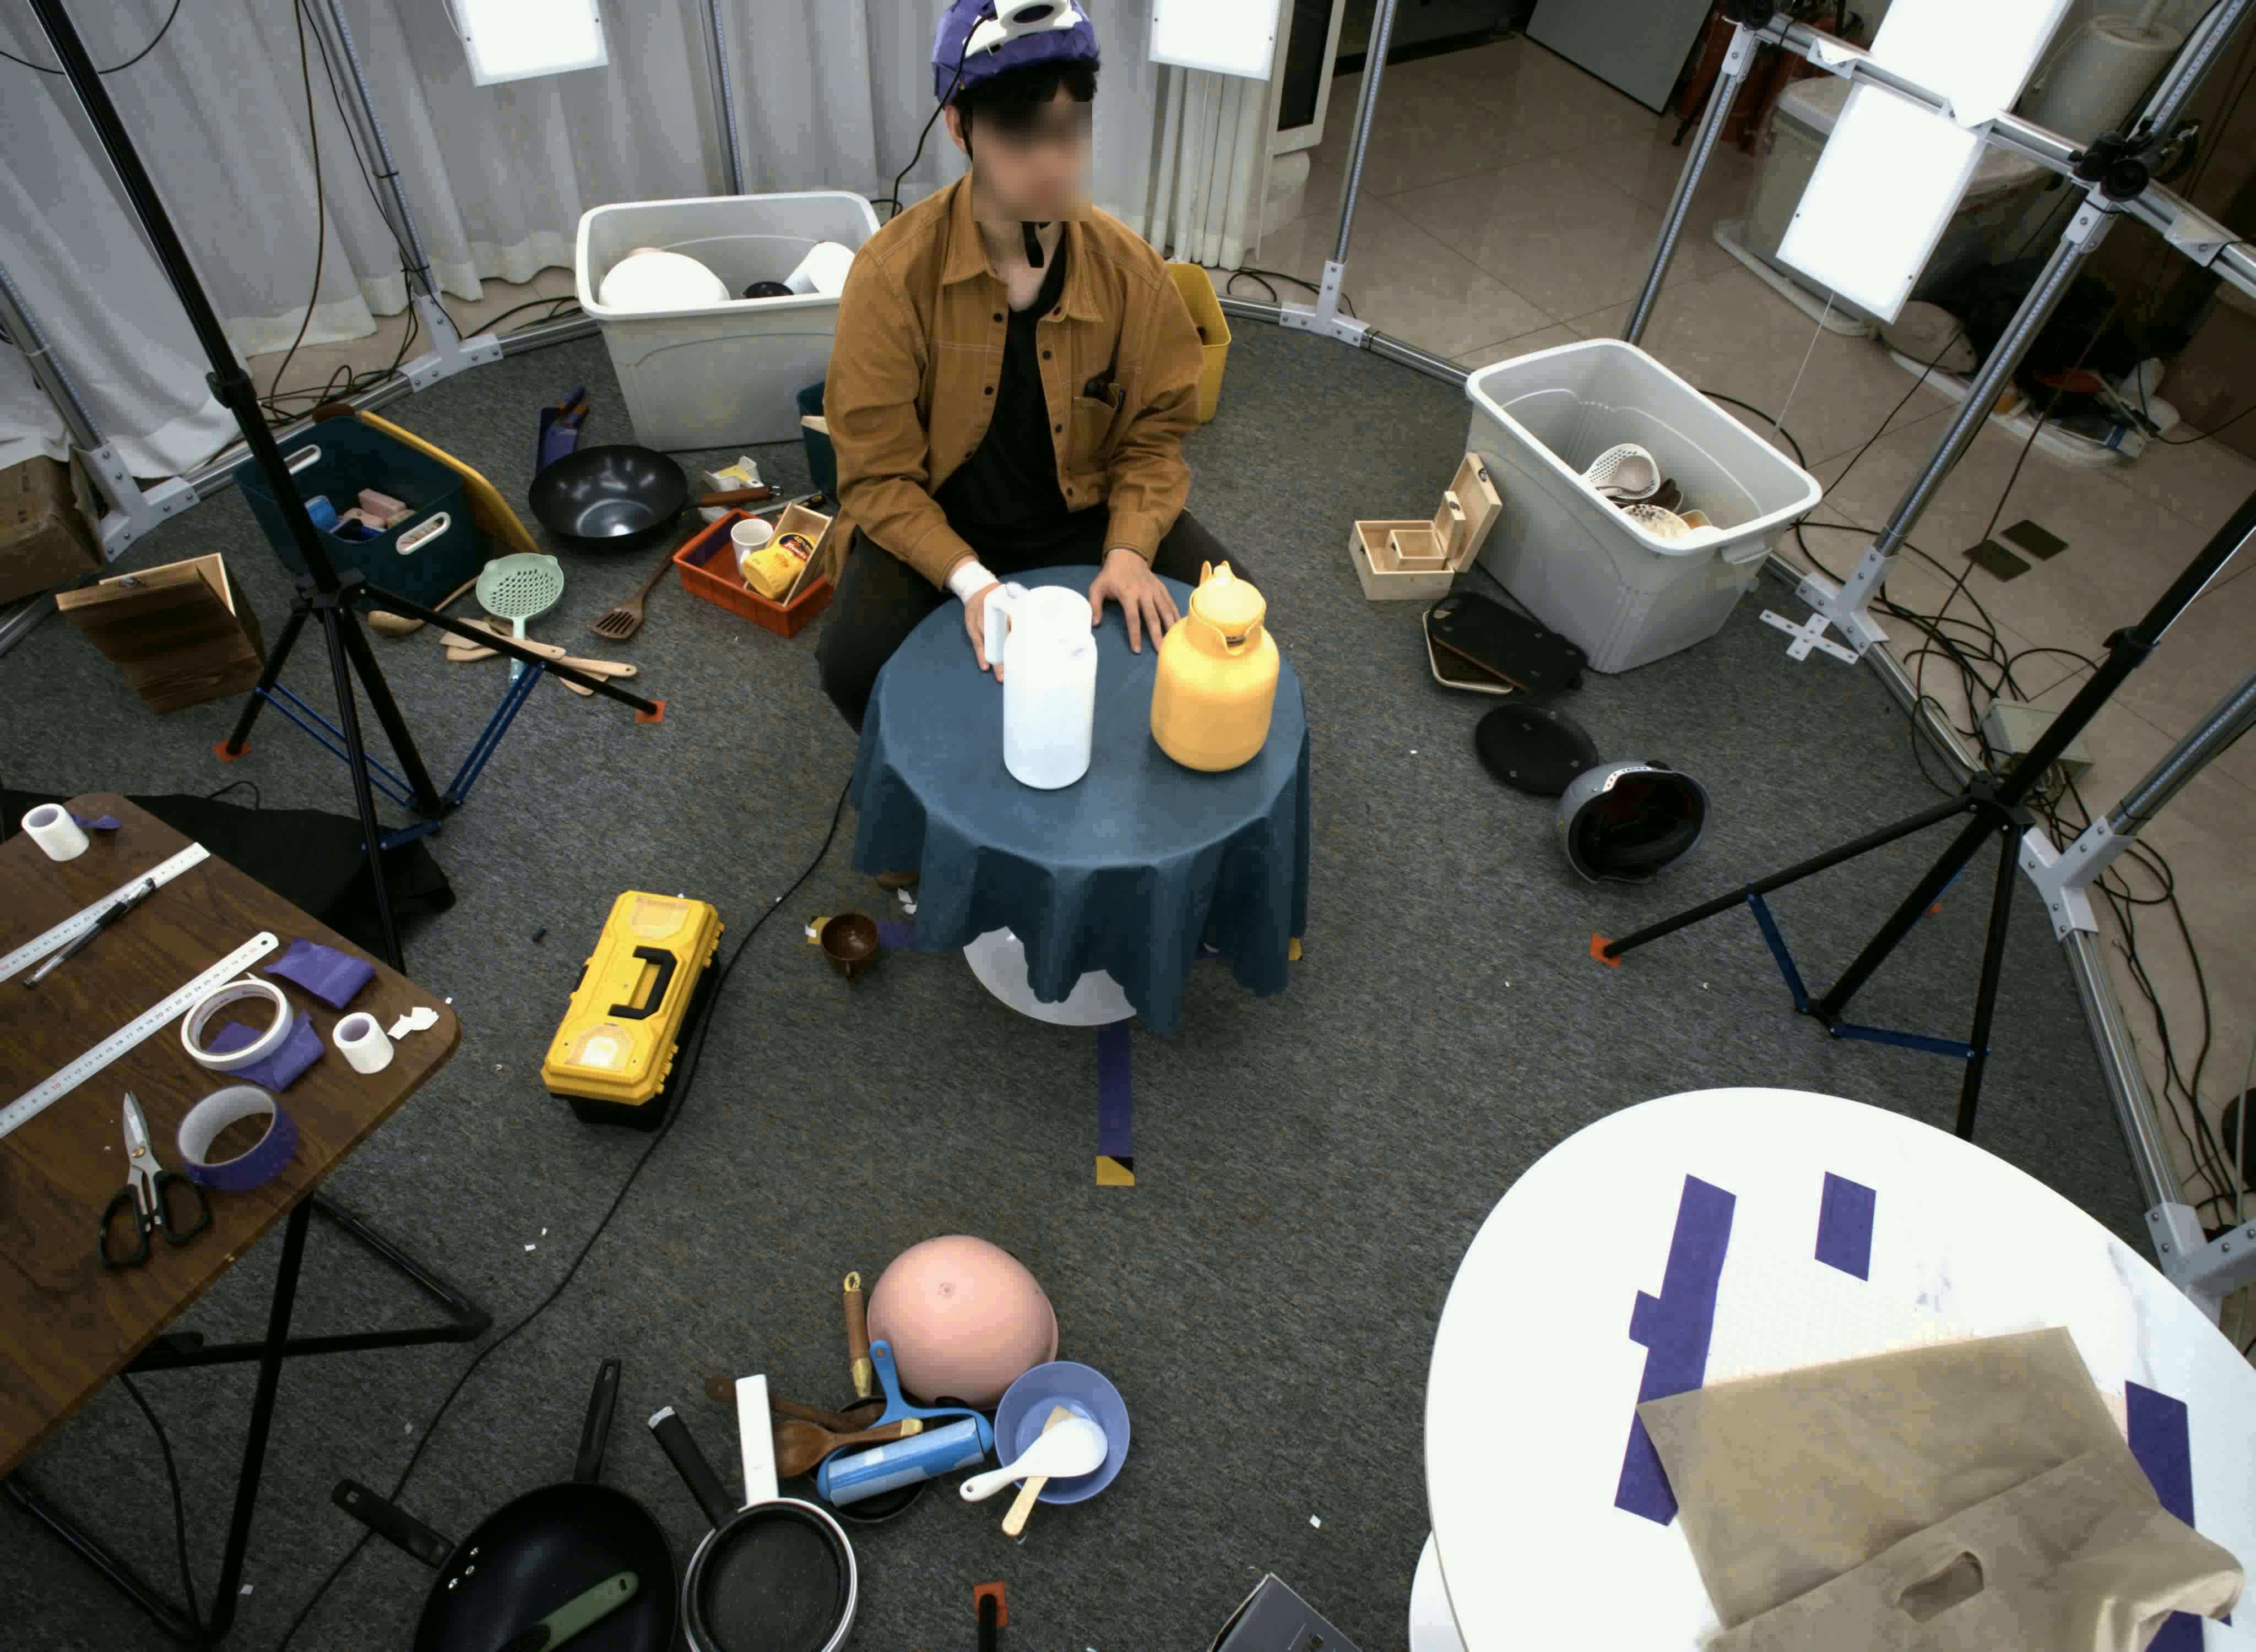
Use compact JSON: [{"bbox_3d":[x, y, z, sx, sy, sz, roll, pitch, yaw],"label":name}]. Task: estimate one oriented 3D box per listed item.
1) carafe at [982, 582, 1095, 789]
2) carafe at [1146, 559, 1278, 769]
[{"bbox_3d":[-0.117,-0.183,1.648,0.175,0.262,0.125,36,58,24],"label":"carafe"},{"bbox_3d":[0.115,-0.221,1.698,0.163,0.254,0.207,2,51,-6],"label":"carafe"}]
